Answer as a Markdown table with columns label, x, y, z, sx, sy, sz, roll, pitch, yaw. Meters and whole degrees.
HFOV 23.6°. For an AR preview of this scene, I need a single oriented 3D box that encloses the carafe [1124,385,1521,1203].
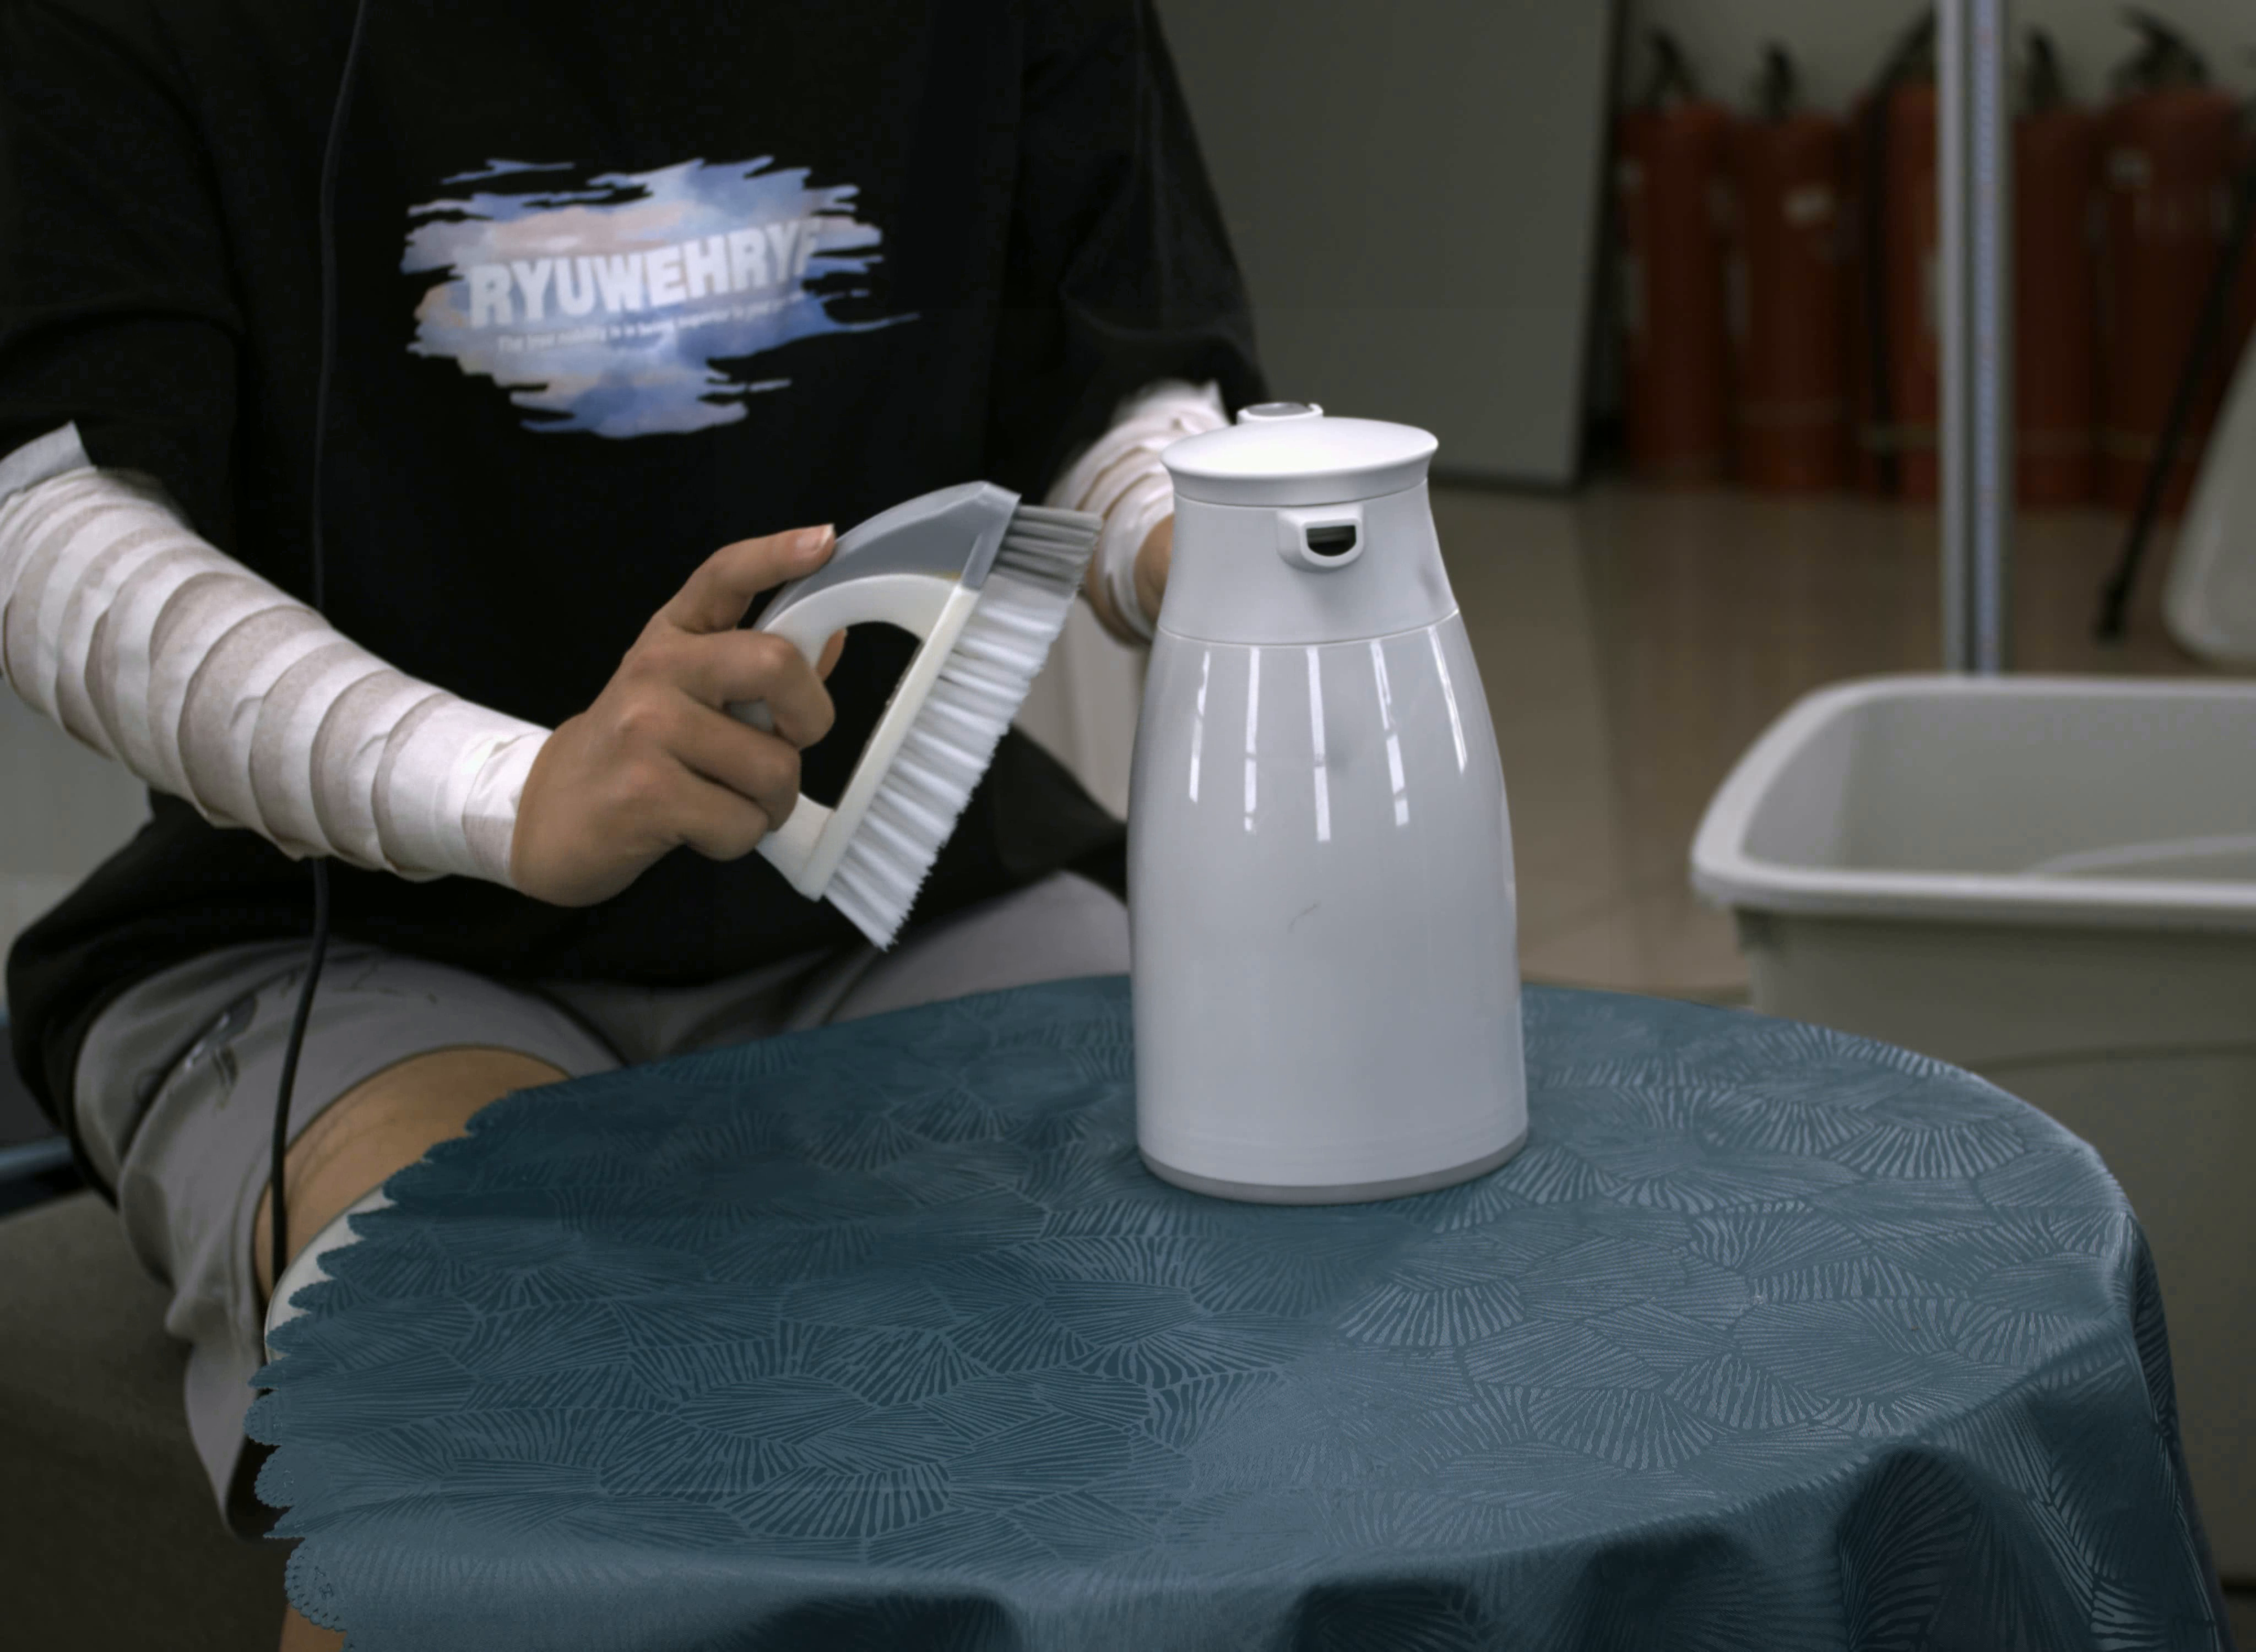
| label | x | y | z | sx | sy | sz | roll | pitch | yaw |
| --- | --- | --- | --- | --- | --- | --- | --- | --- | --- |
| carafe | 0.057 | -0.018 | 1.798 | 0.130 | 0.251 | 0.168 | -5 | 13 | -7 |

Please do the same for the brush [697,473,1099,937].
| label | x | y | z | sx | sy | sz | roll | pitch | yaw |
| --- | --- | --- | --- | --- | --- | --- | --- | --- | --- |
| brush | -0.081 | -0.054 | 1.760 | 0.093 | 0.177 | 0.061 | 26 | 36 | -7 |
